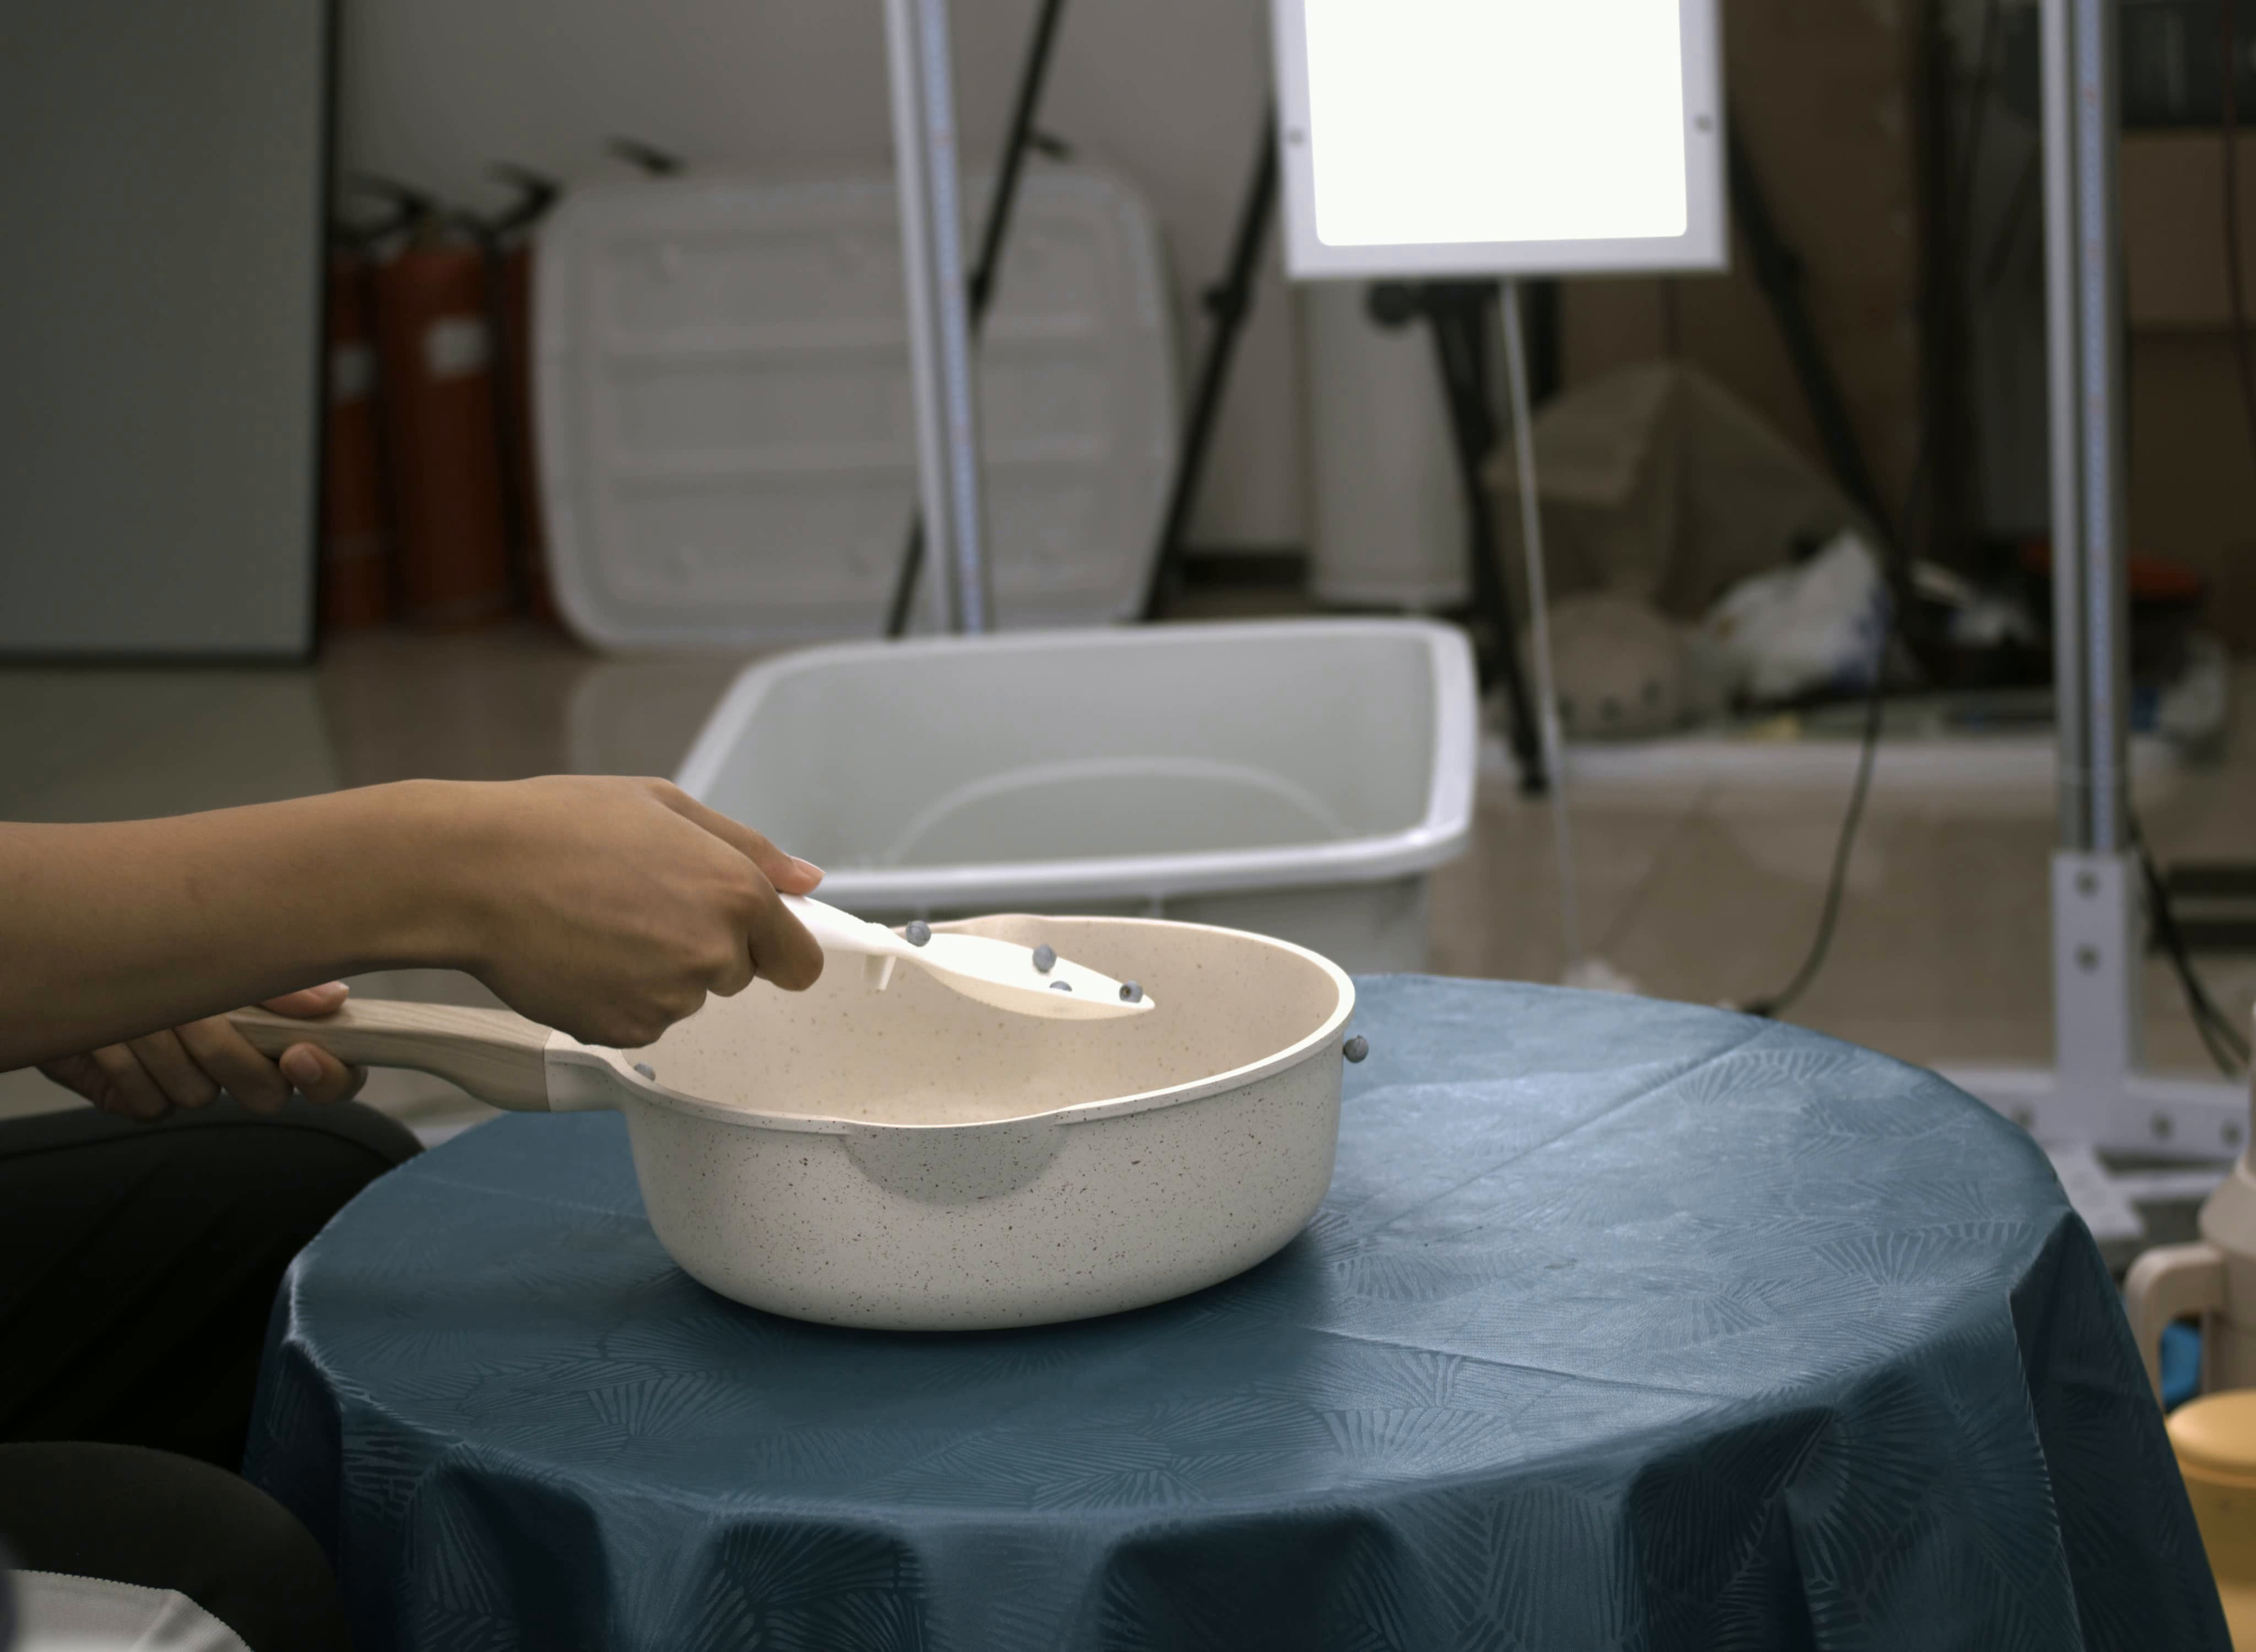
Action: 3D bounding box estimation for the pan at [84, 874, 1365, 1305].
[{"bbox_3d":[-0.133,0.090,1.871,0.436,0.102,0.262,-4,16,5],"label":"pan"}]

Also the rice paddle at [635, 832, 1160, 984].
[{"bbox_3d":[-0.071,0.029,1.825,0.200,0.029,0.070,9,14,-37],"label":"rice paddle"}]
